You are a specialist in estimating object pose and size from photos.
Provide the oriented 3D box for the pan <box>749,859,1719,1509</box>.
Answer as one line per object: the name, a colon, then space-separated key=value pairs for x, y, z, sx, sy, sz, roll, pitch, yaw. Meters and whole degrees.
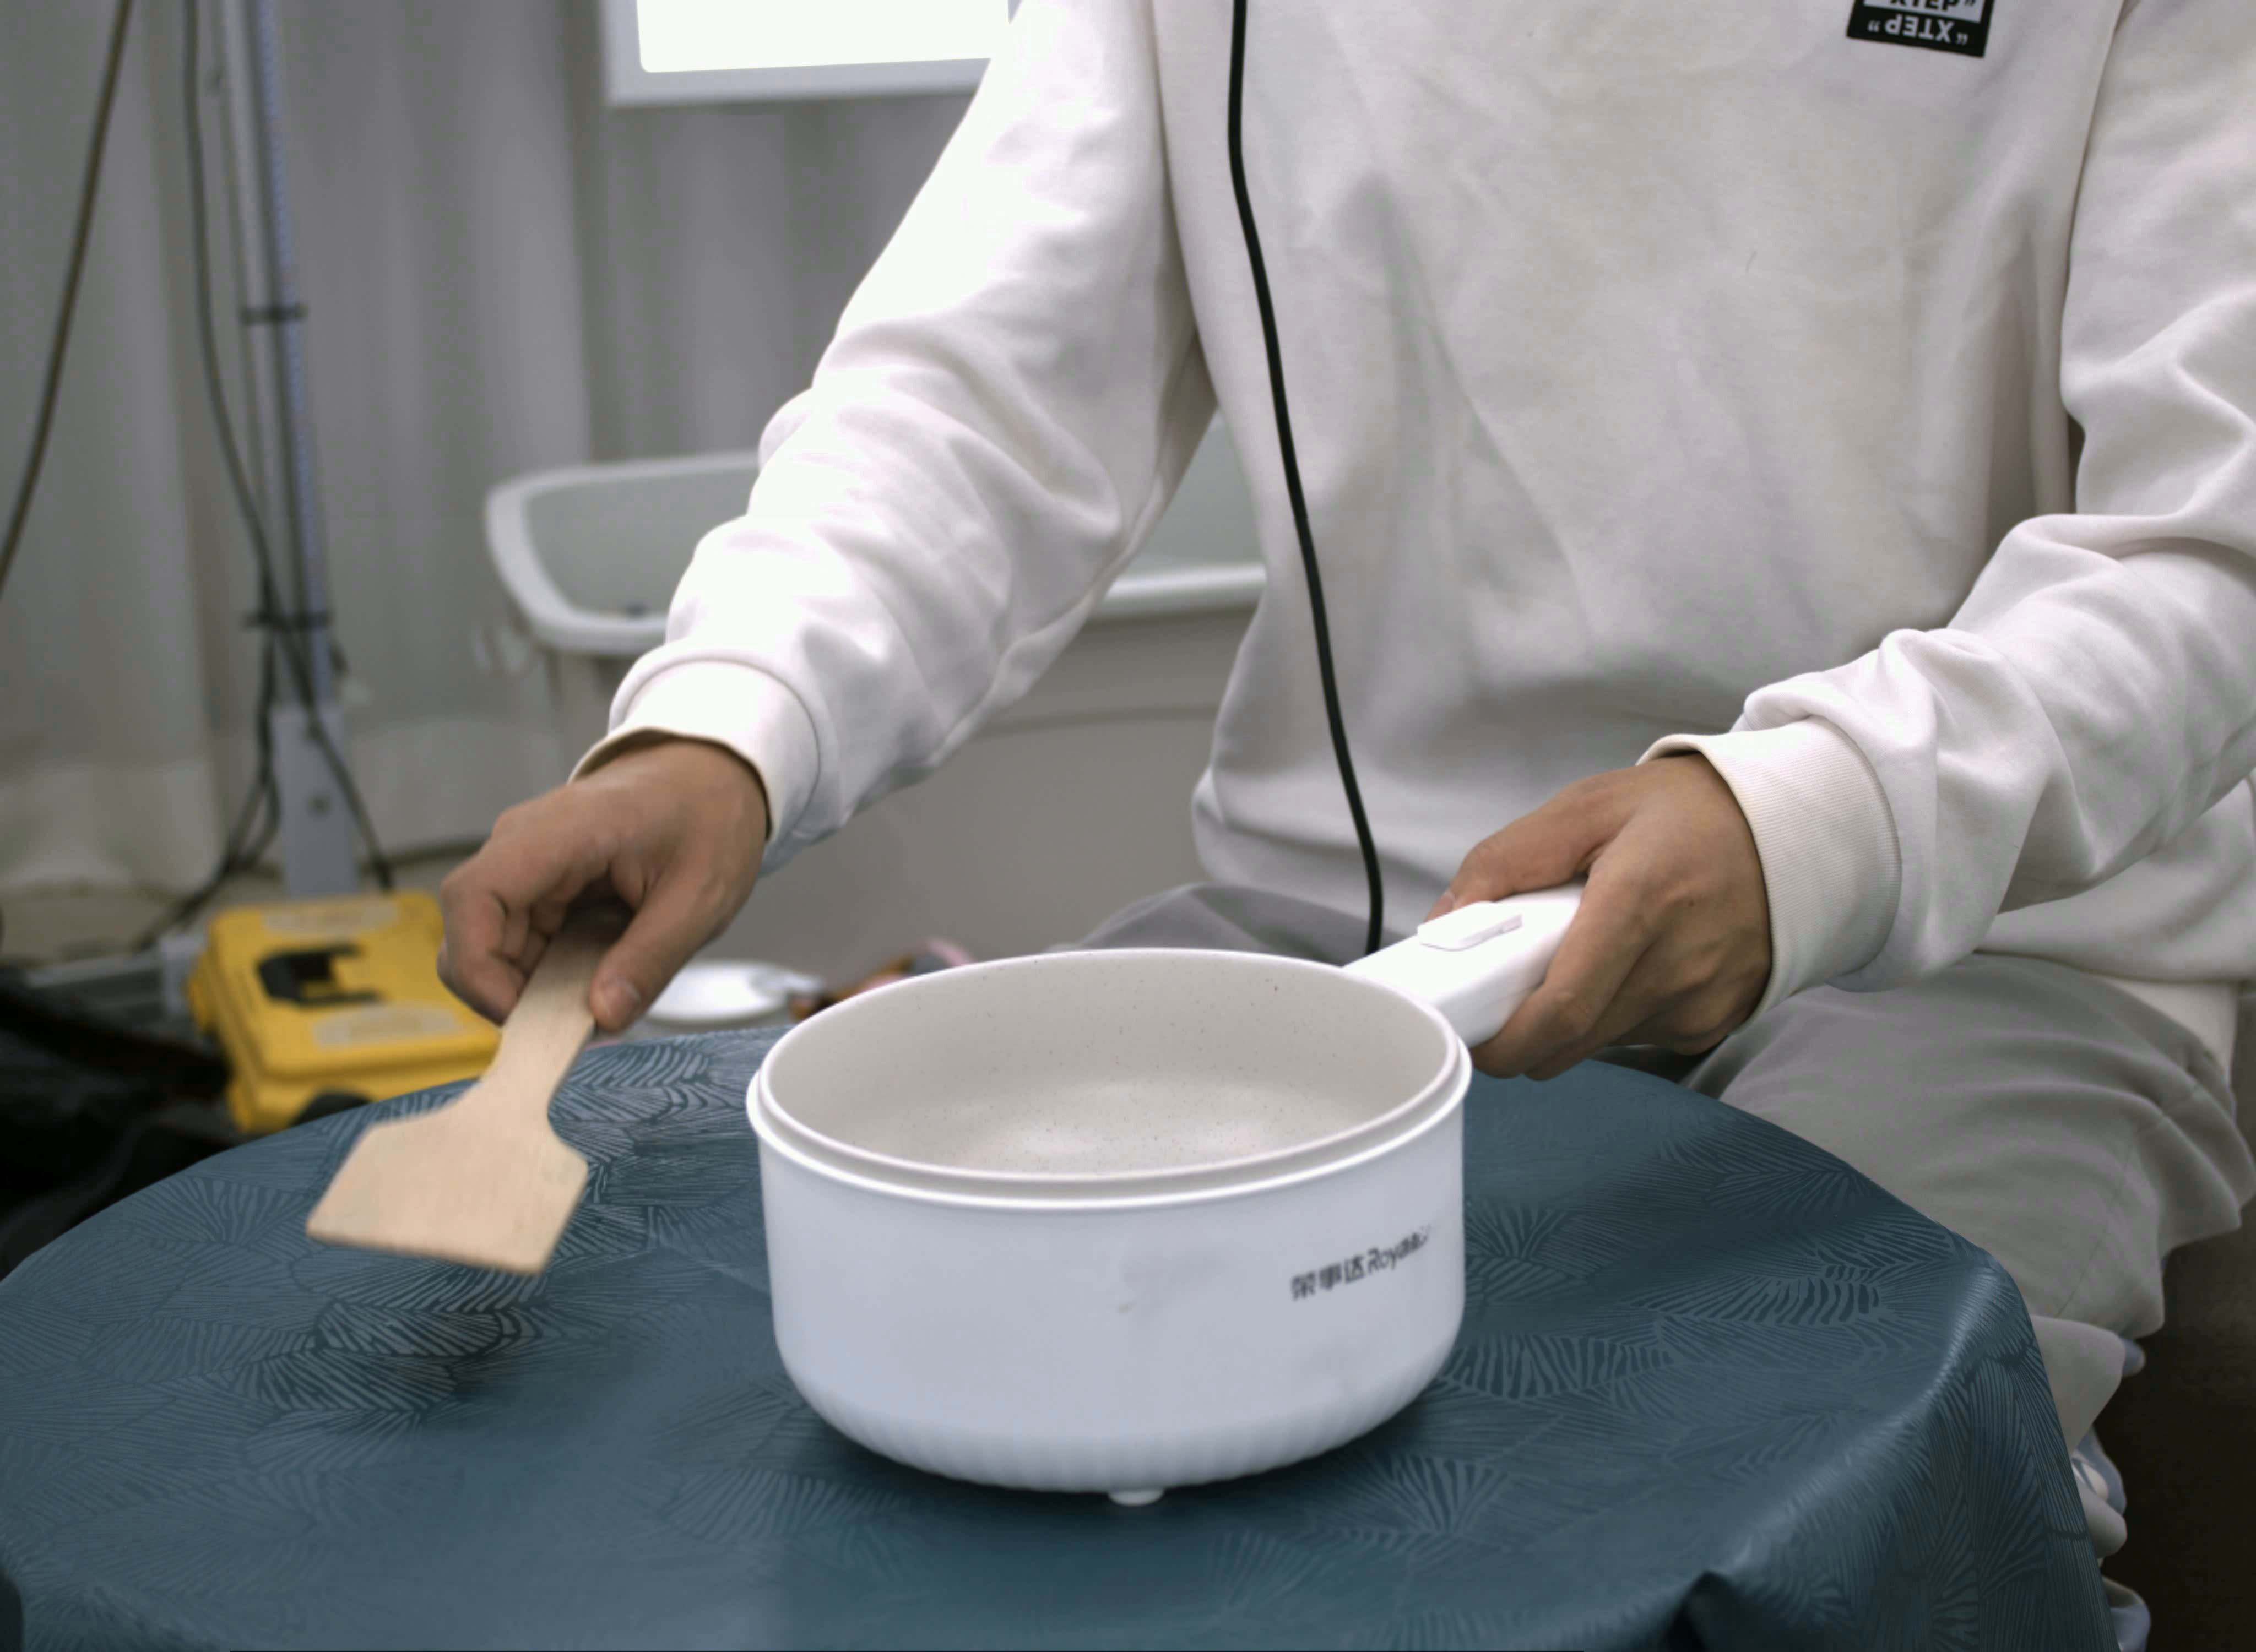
pan: x=0.049 y=0.096 z=1.579 sx=0.202 sy=0.101 sz=0.354 roll=10 pitch=20 yaw=41

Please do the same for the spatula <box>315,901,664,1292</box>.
spatula: x=-0.184 y=0.079 z=1.694 sx=0.072 sy=0.010 sz=0.295 roll=8 pitch=21 yaw=4
